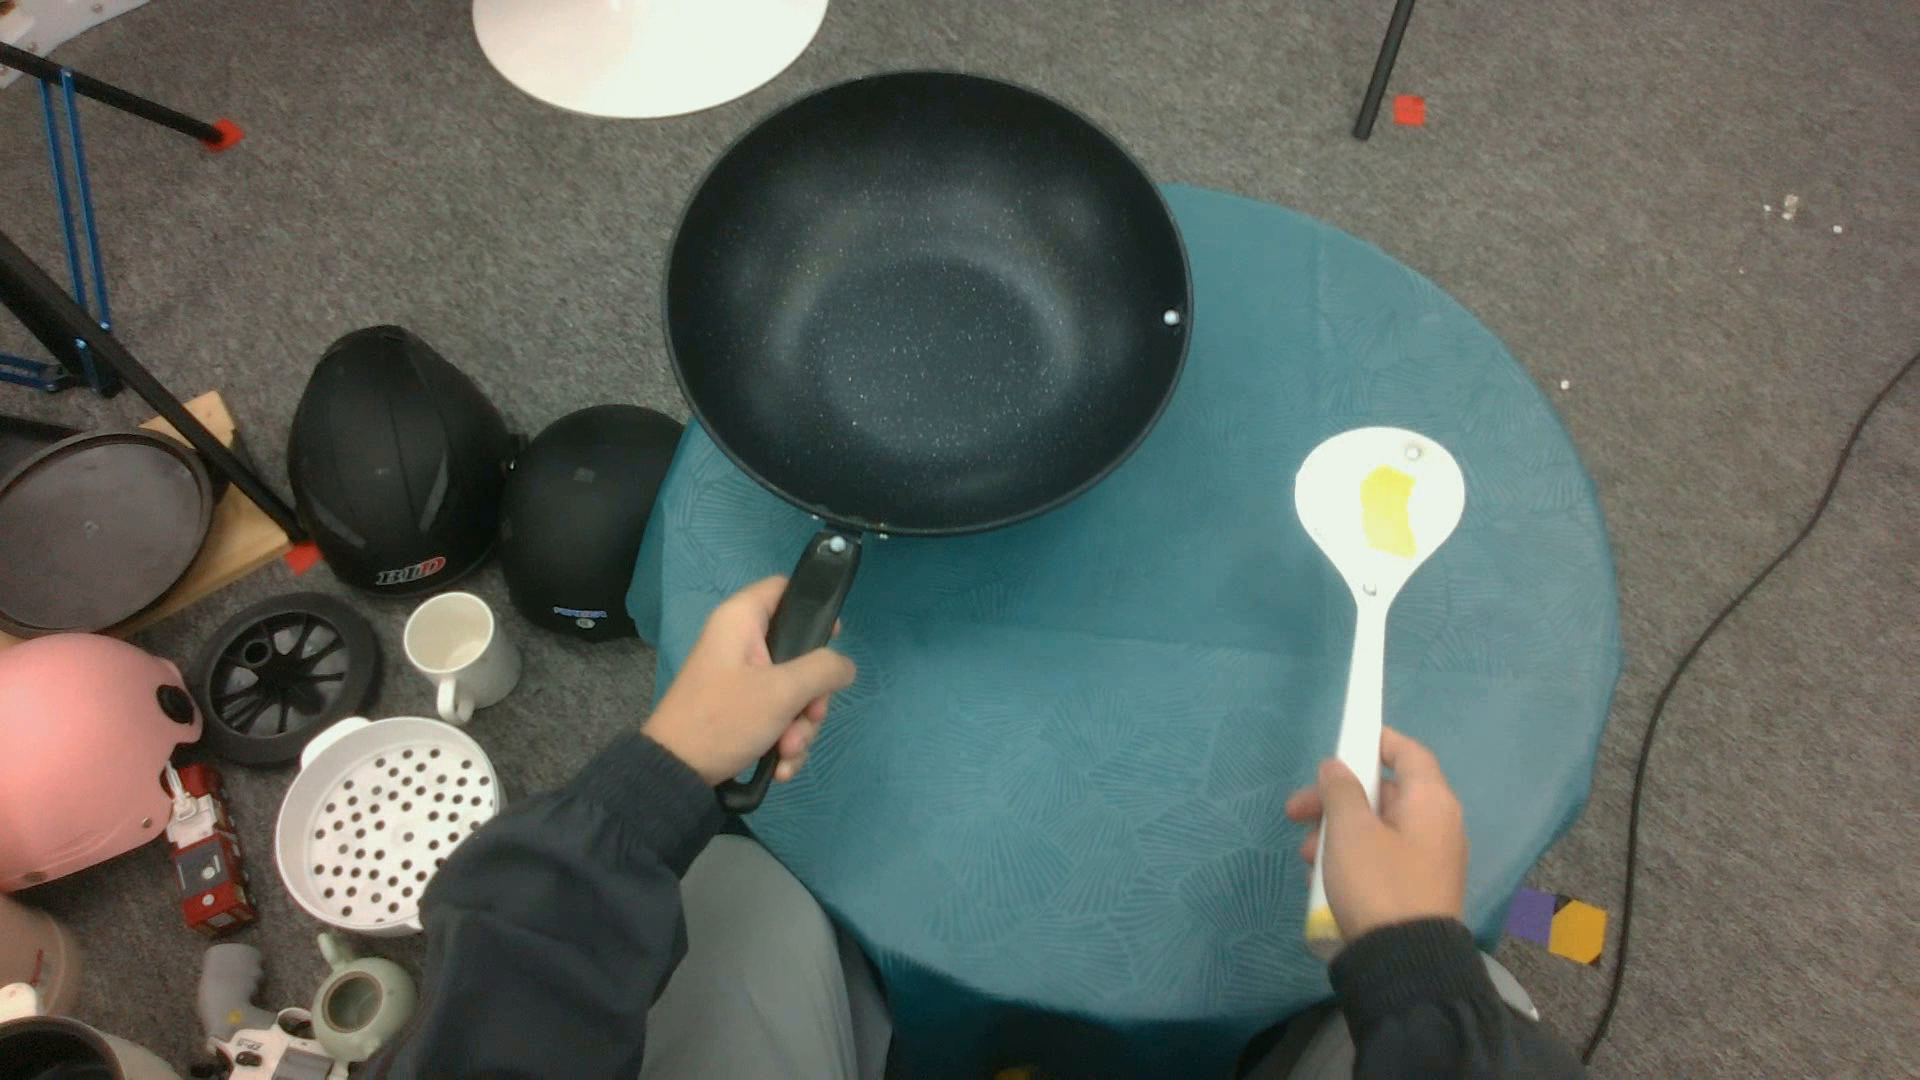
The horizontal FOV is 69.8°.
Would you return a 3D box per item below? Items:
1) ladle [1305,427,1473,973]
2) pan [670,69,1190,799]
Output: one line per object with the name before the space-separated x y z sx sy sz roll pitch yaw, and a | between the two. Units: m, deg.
ladle | 0.218 0.076 0.734 0.090 0.069 0.294 8 58 14
pan | -0.041 -0.069 0.816 0.310 0.111 0.478 14 70 7
